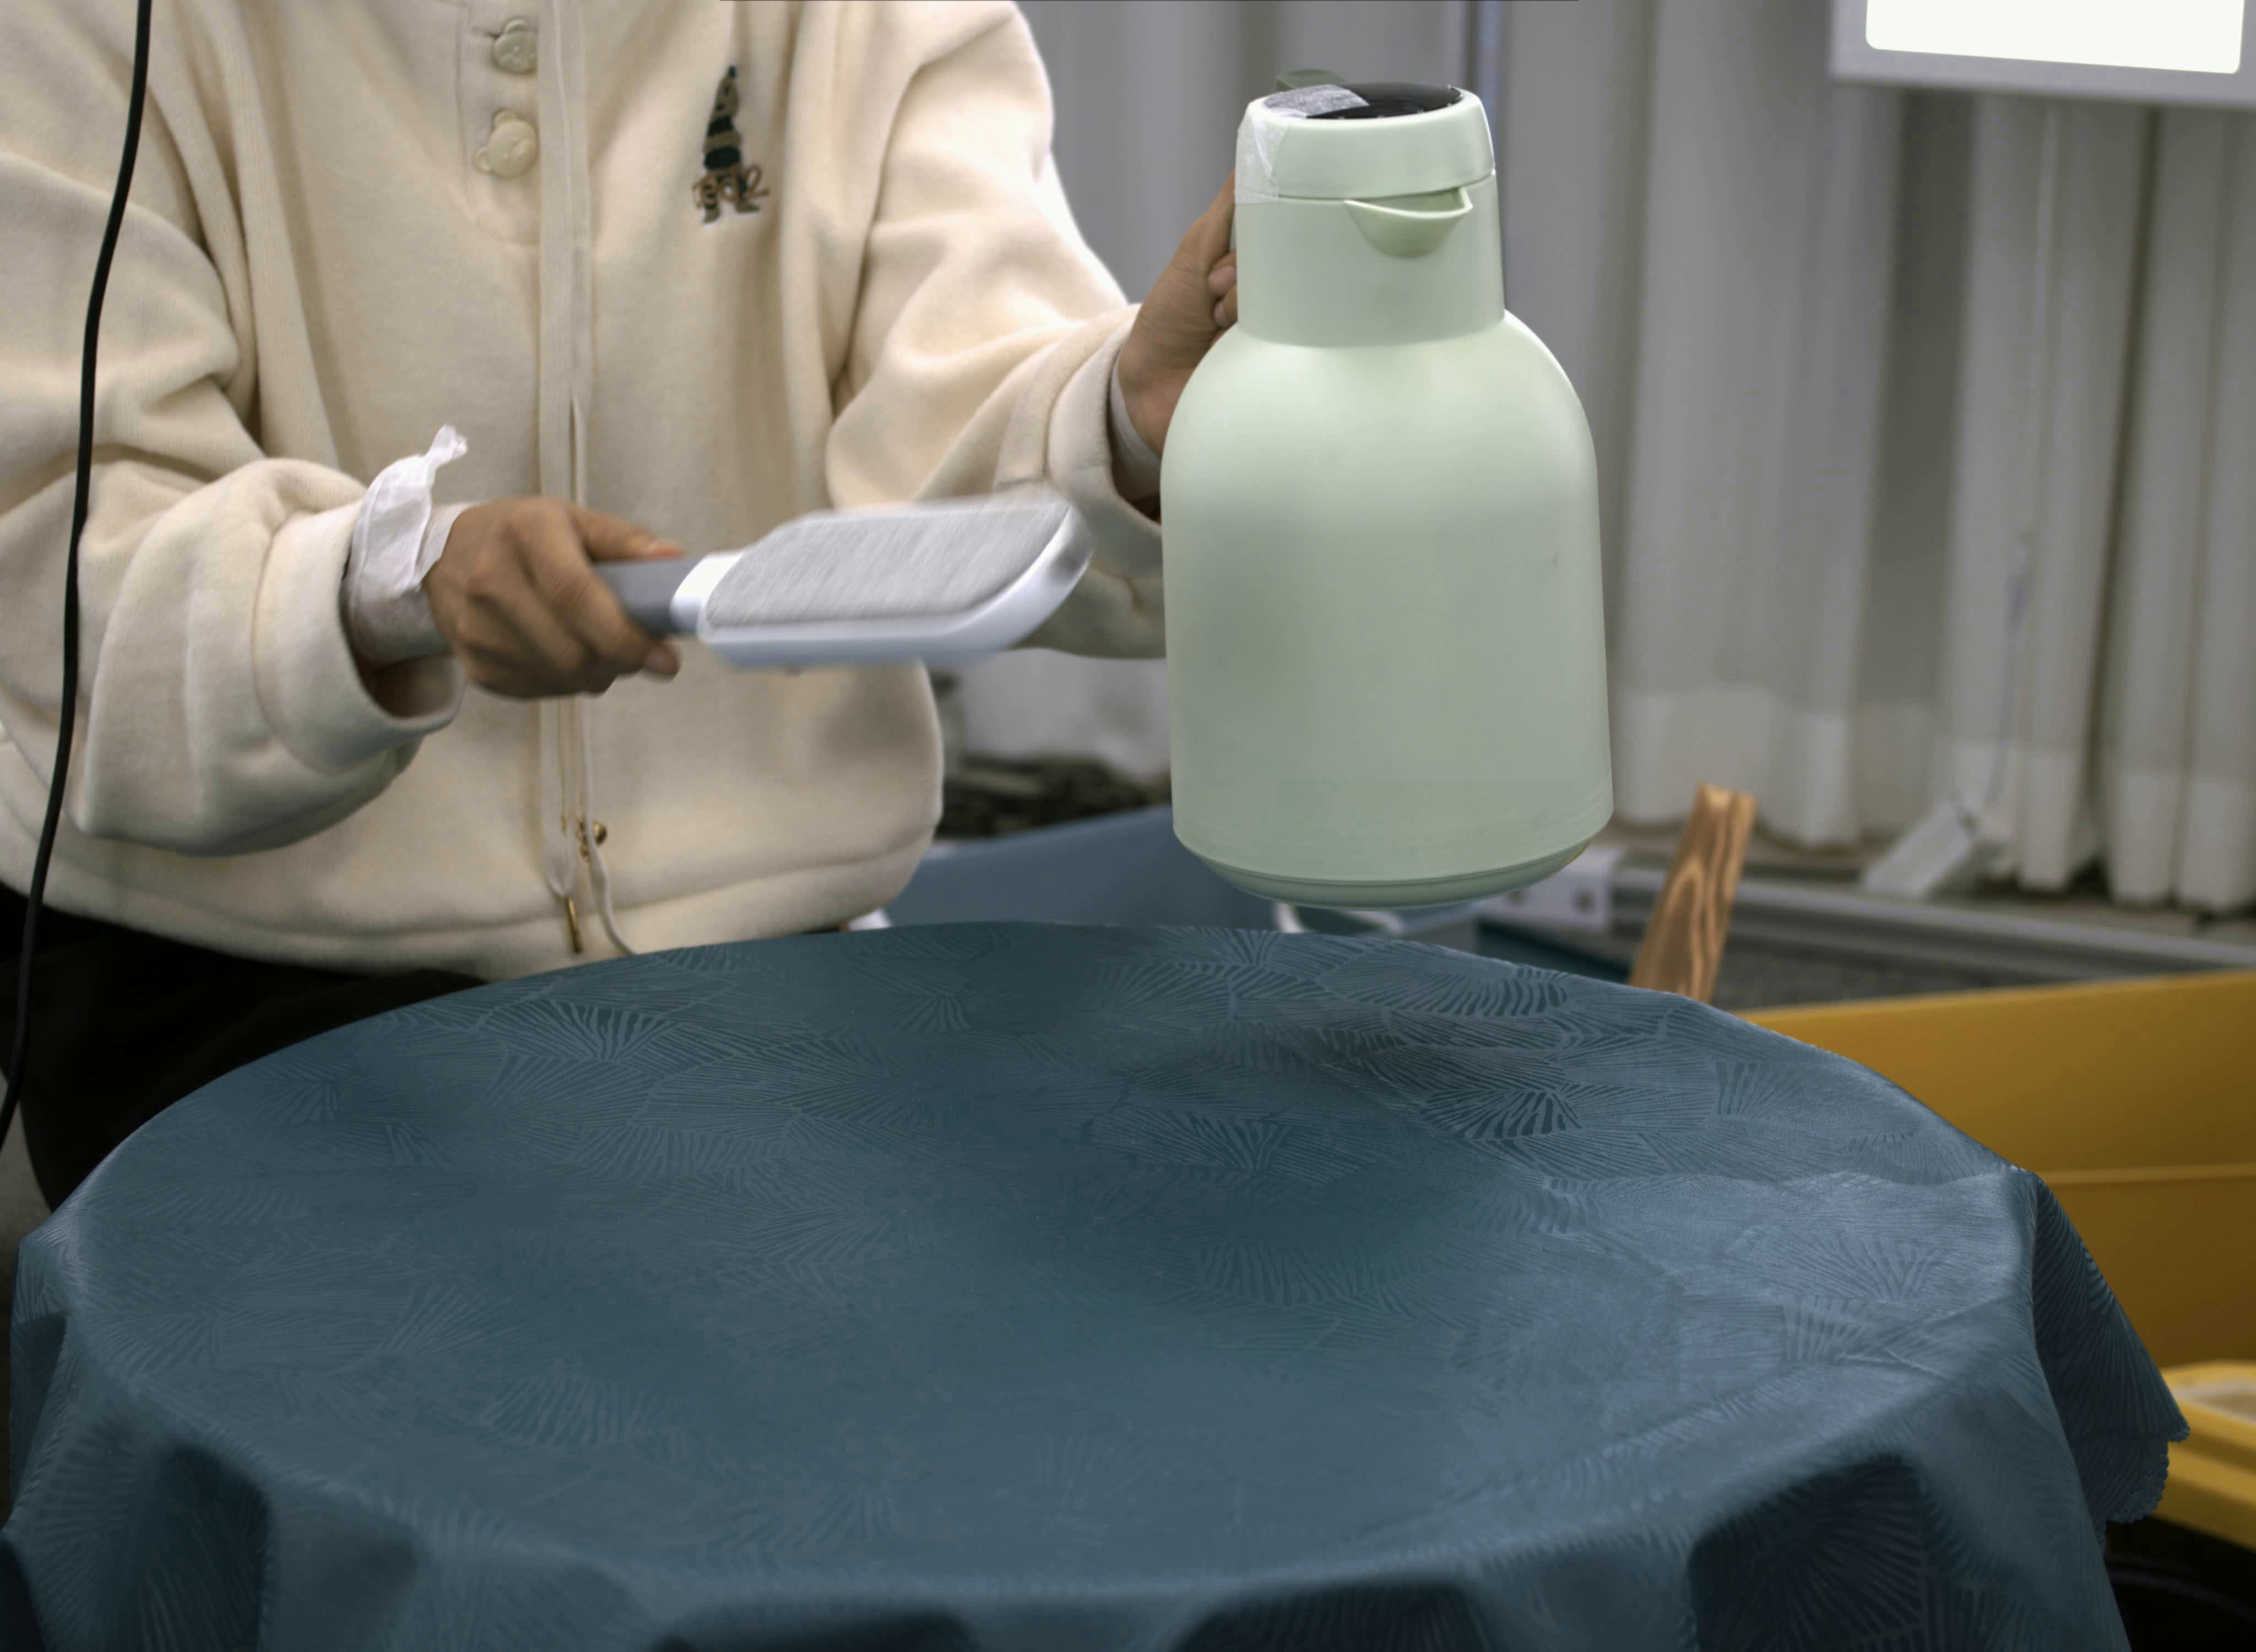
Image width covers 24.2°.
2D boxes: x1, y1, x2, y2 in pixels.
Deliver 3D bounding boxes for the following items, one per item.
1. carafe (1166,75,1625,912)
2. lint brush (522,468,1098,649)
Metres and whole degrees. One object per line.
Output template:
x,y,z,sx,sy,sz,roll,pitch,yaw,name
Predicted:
0.078,-0.113,1.713,0.144,0.259,0.185,-10,15,-15,carafe
-0.106,-0.080,1.631,0.306,0.021,0.060,-1,47,54,lint brush
